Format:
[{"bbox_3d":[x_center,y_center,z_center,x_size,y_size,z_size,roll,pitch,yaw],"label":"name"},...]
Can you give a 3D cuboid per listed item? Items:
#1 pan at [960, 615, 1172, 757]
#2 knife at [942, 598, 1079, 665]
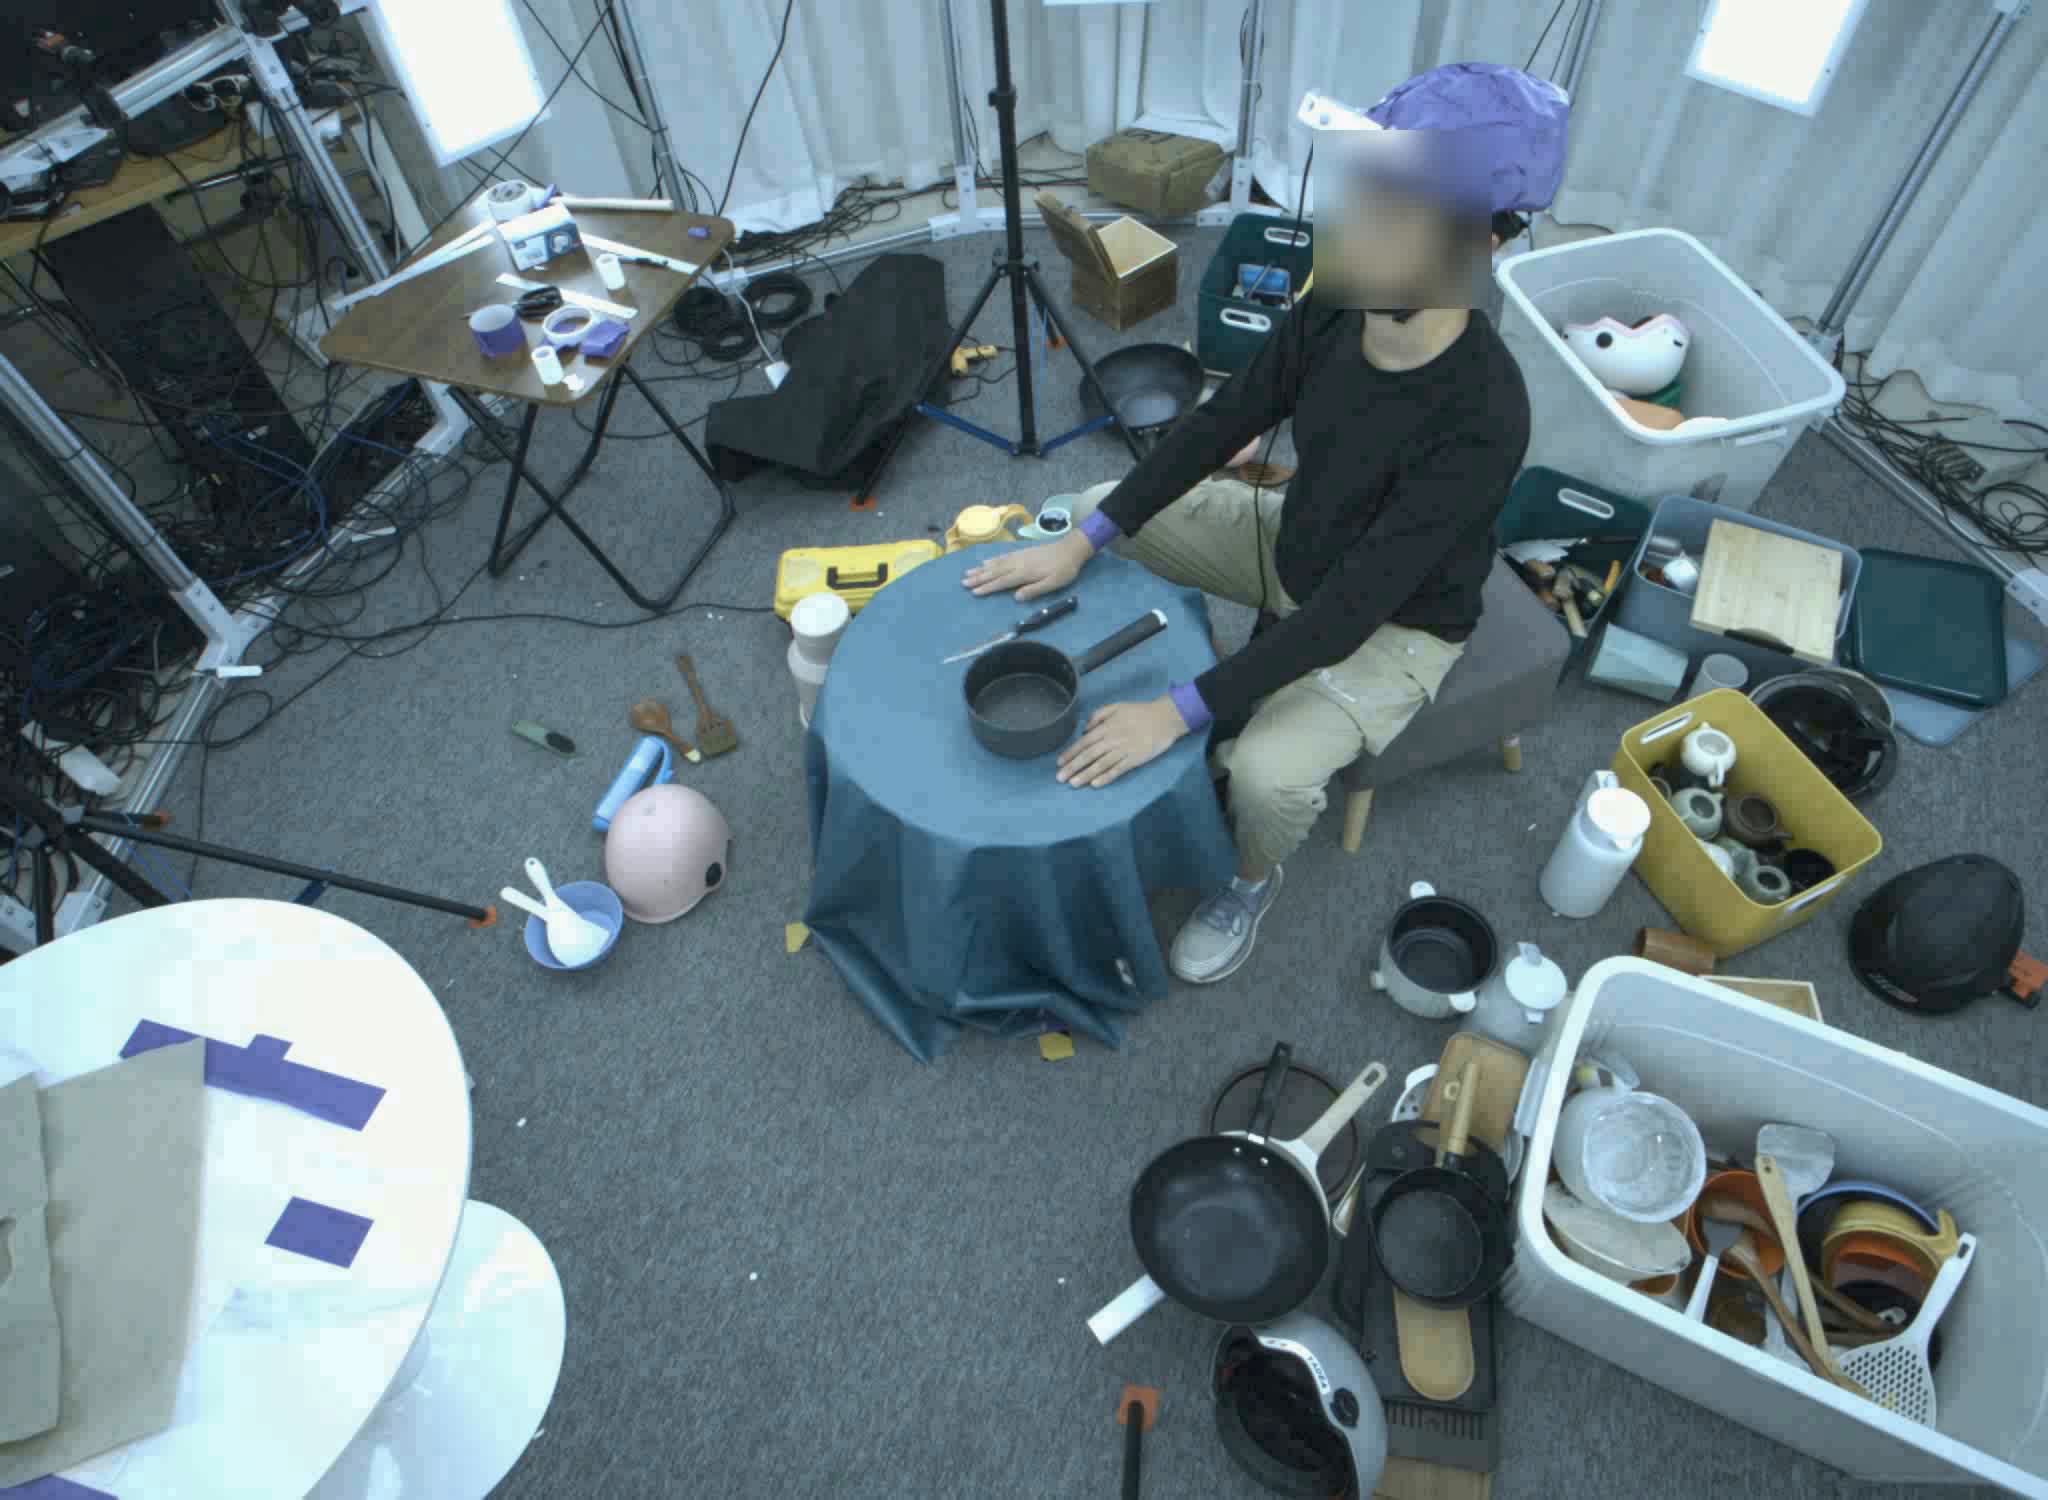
[{"bbox_3d":[0.066,-0.107,1.806,0.331,0.087,0.169,-23,57,-13],"label":"pan"},{"bbox_3d":[-0.023,-0.184,1.909,0.240,0.016,0.024,-26,58,-13],"label":"knife"}]
